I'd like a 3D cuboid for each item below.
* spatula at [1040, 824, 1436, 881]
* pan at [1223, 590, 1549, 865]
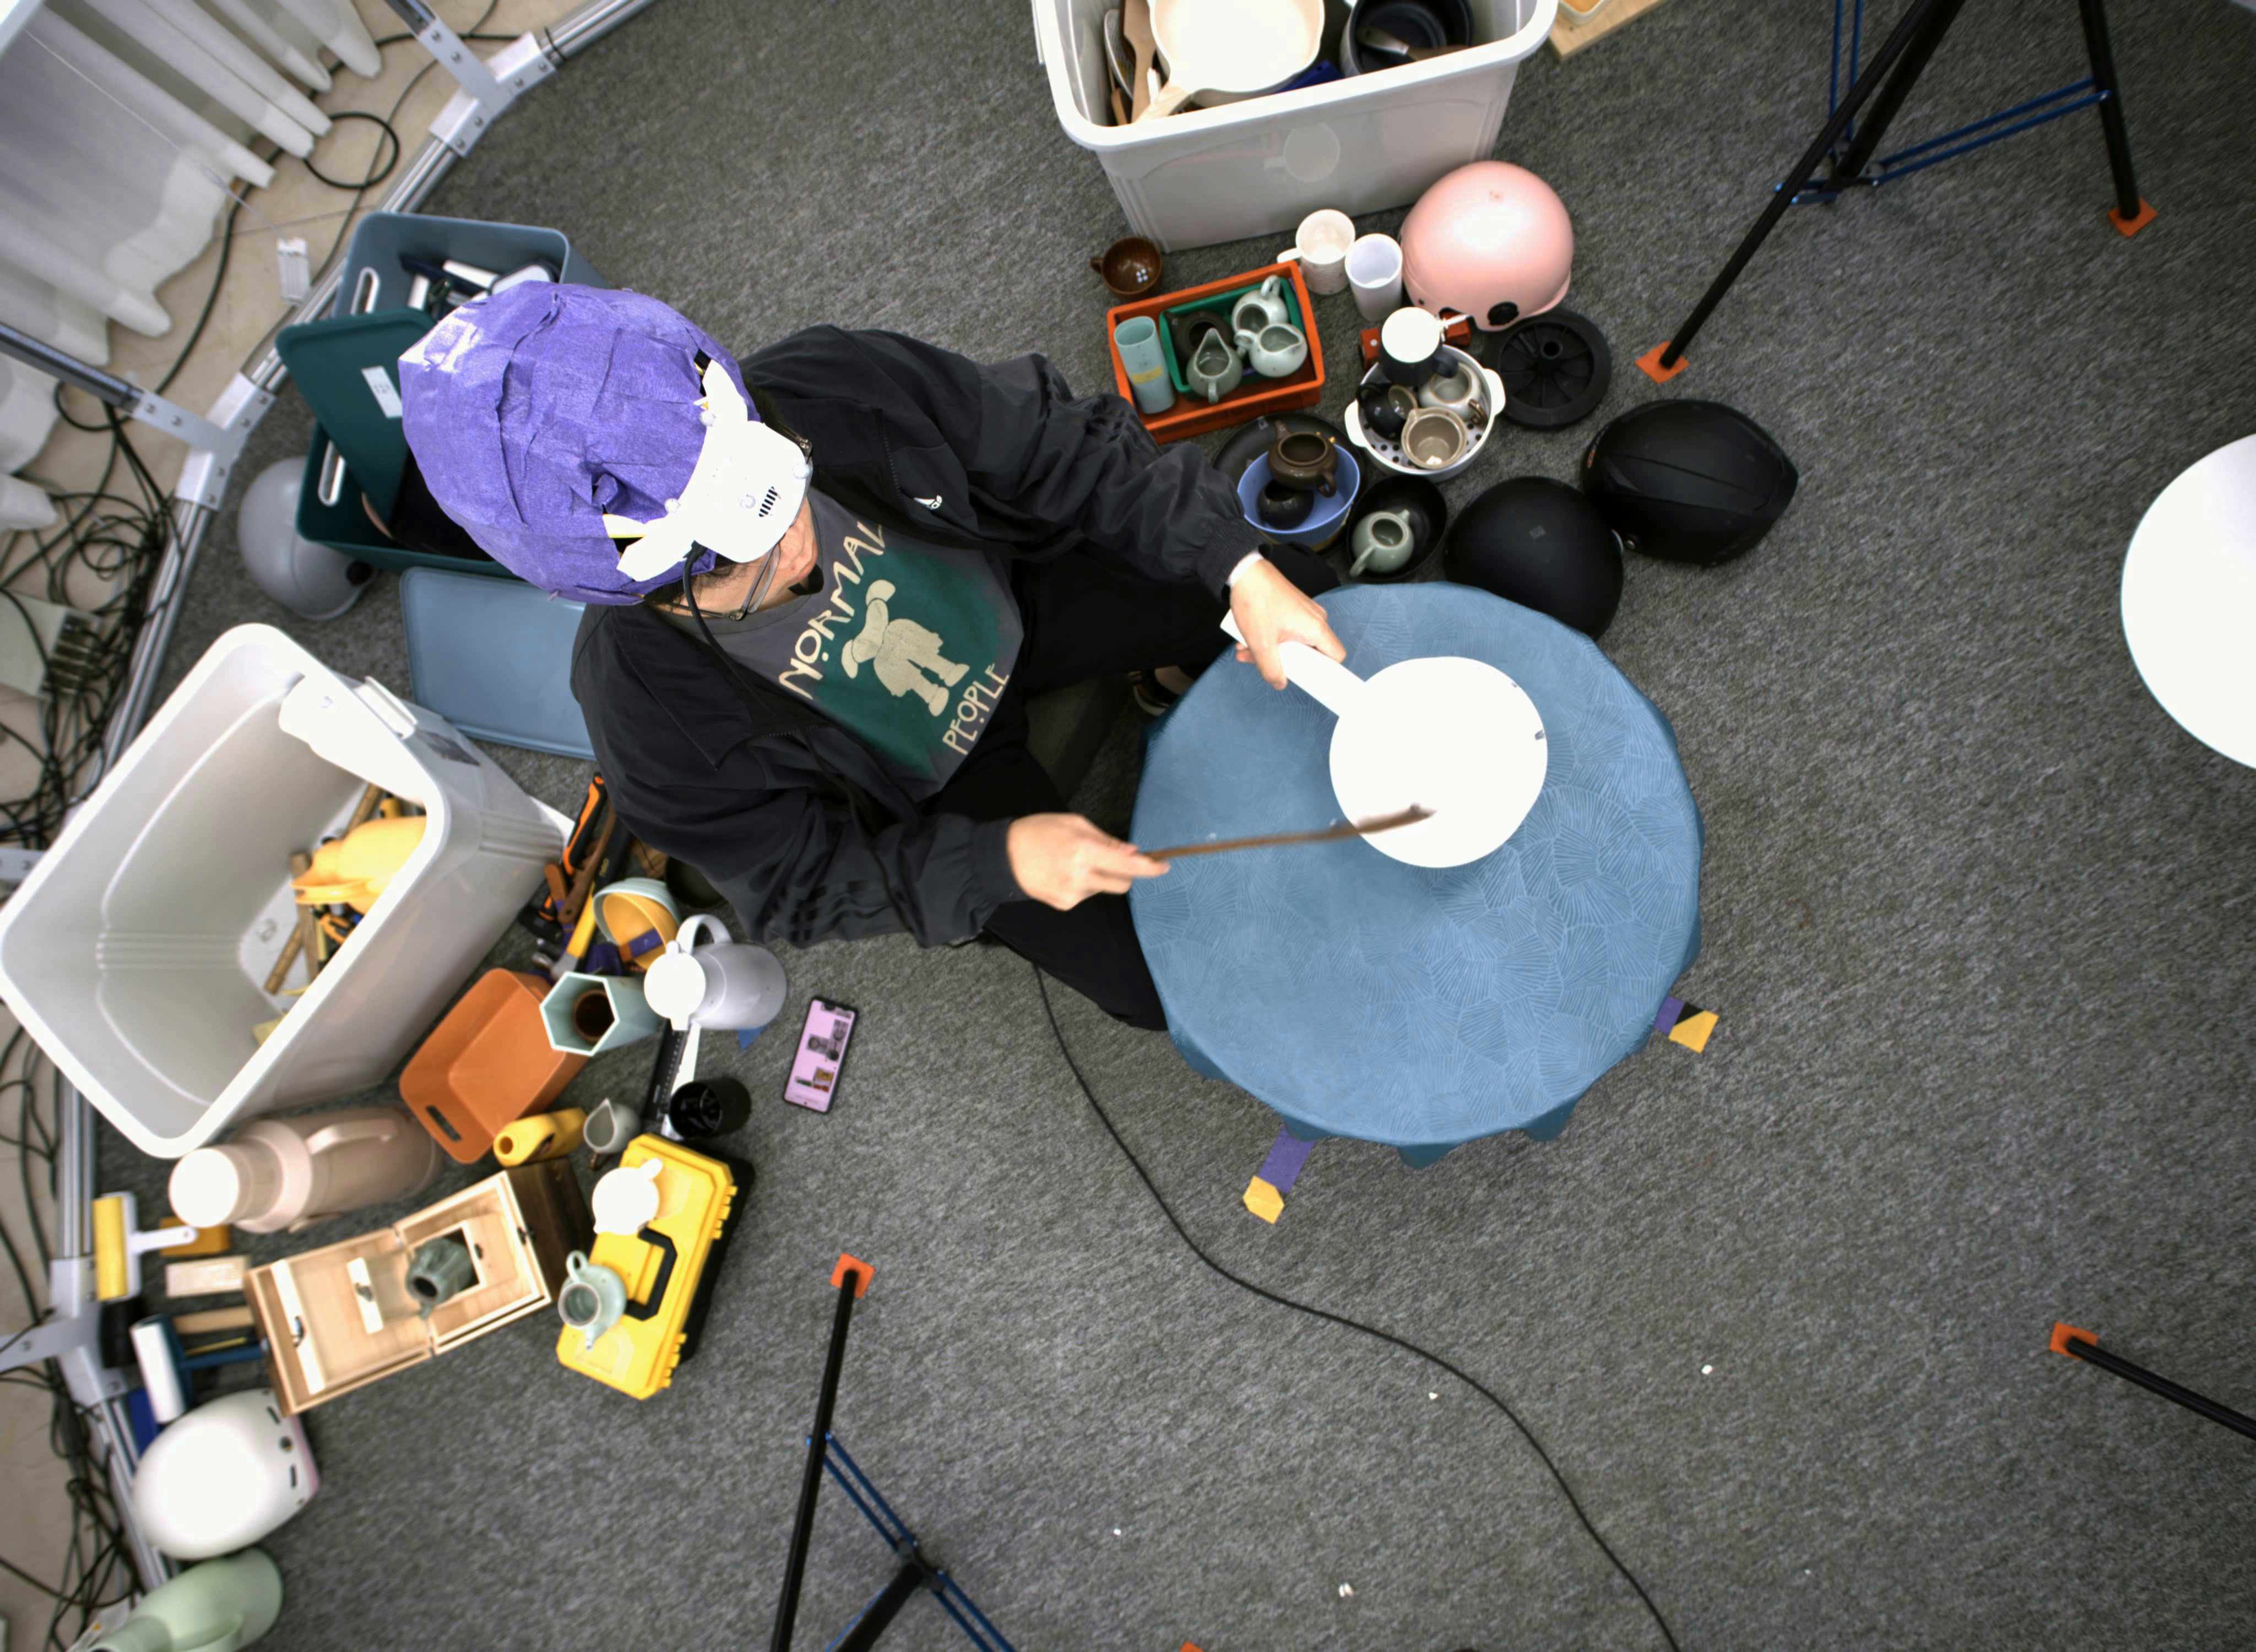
[{"bbox_3d":[0.090,0.024,1.273,0.389,0.095,0.016,-7,90,25],"label":"spatula"},{"bbox_3d":[0.253,-0.118,1.365,0.353,0.100,0.205,40,119,15],"label":"pan"}]
